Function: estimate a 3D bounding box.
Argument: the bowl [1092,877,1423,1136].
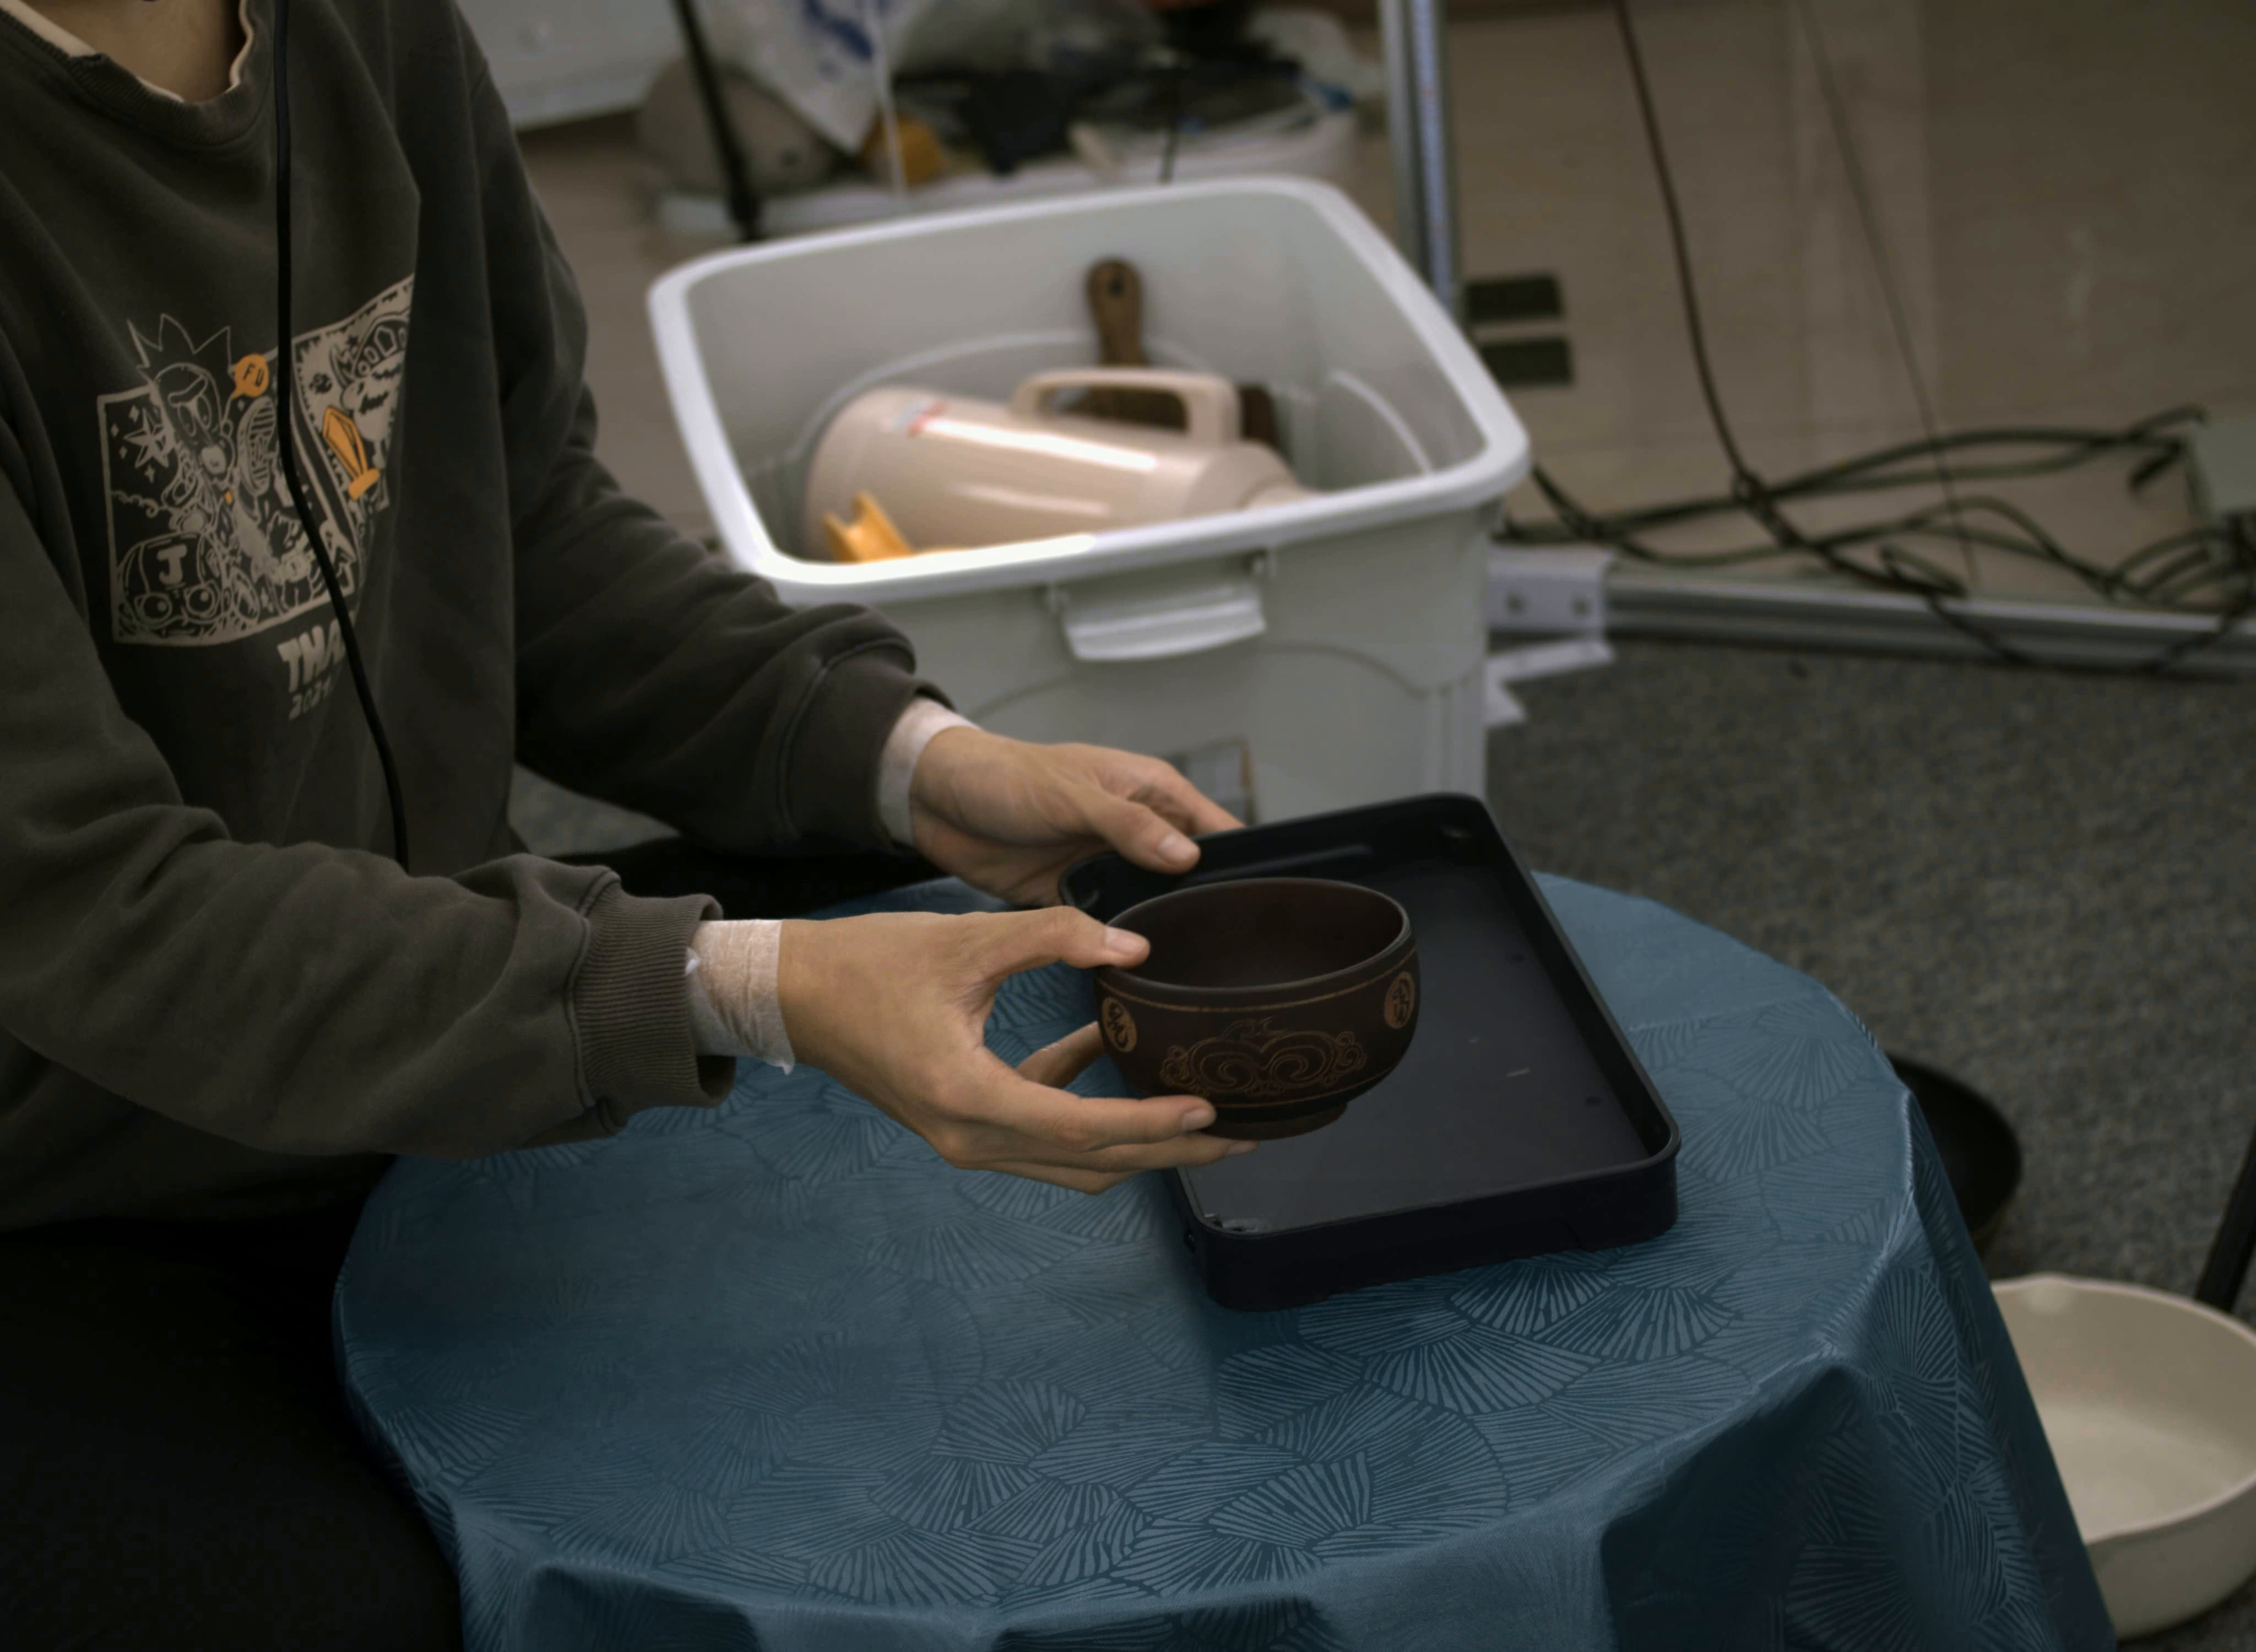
[{"bbox_3d":[0.048,0.068,2.021,0.118,0.071,0.116,-6,18,2],"label":"bowl"}]

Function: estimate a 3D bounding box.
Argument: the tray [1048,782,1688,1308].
[{"bbox_3d":[0.088,0.079,2.195,0.184,0.037,0.313,-12,28,-8],"label":"tray"}]
